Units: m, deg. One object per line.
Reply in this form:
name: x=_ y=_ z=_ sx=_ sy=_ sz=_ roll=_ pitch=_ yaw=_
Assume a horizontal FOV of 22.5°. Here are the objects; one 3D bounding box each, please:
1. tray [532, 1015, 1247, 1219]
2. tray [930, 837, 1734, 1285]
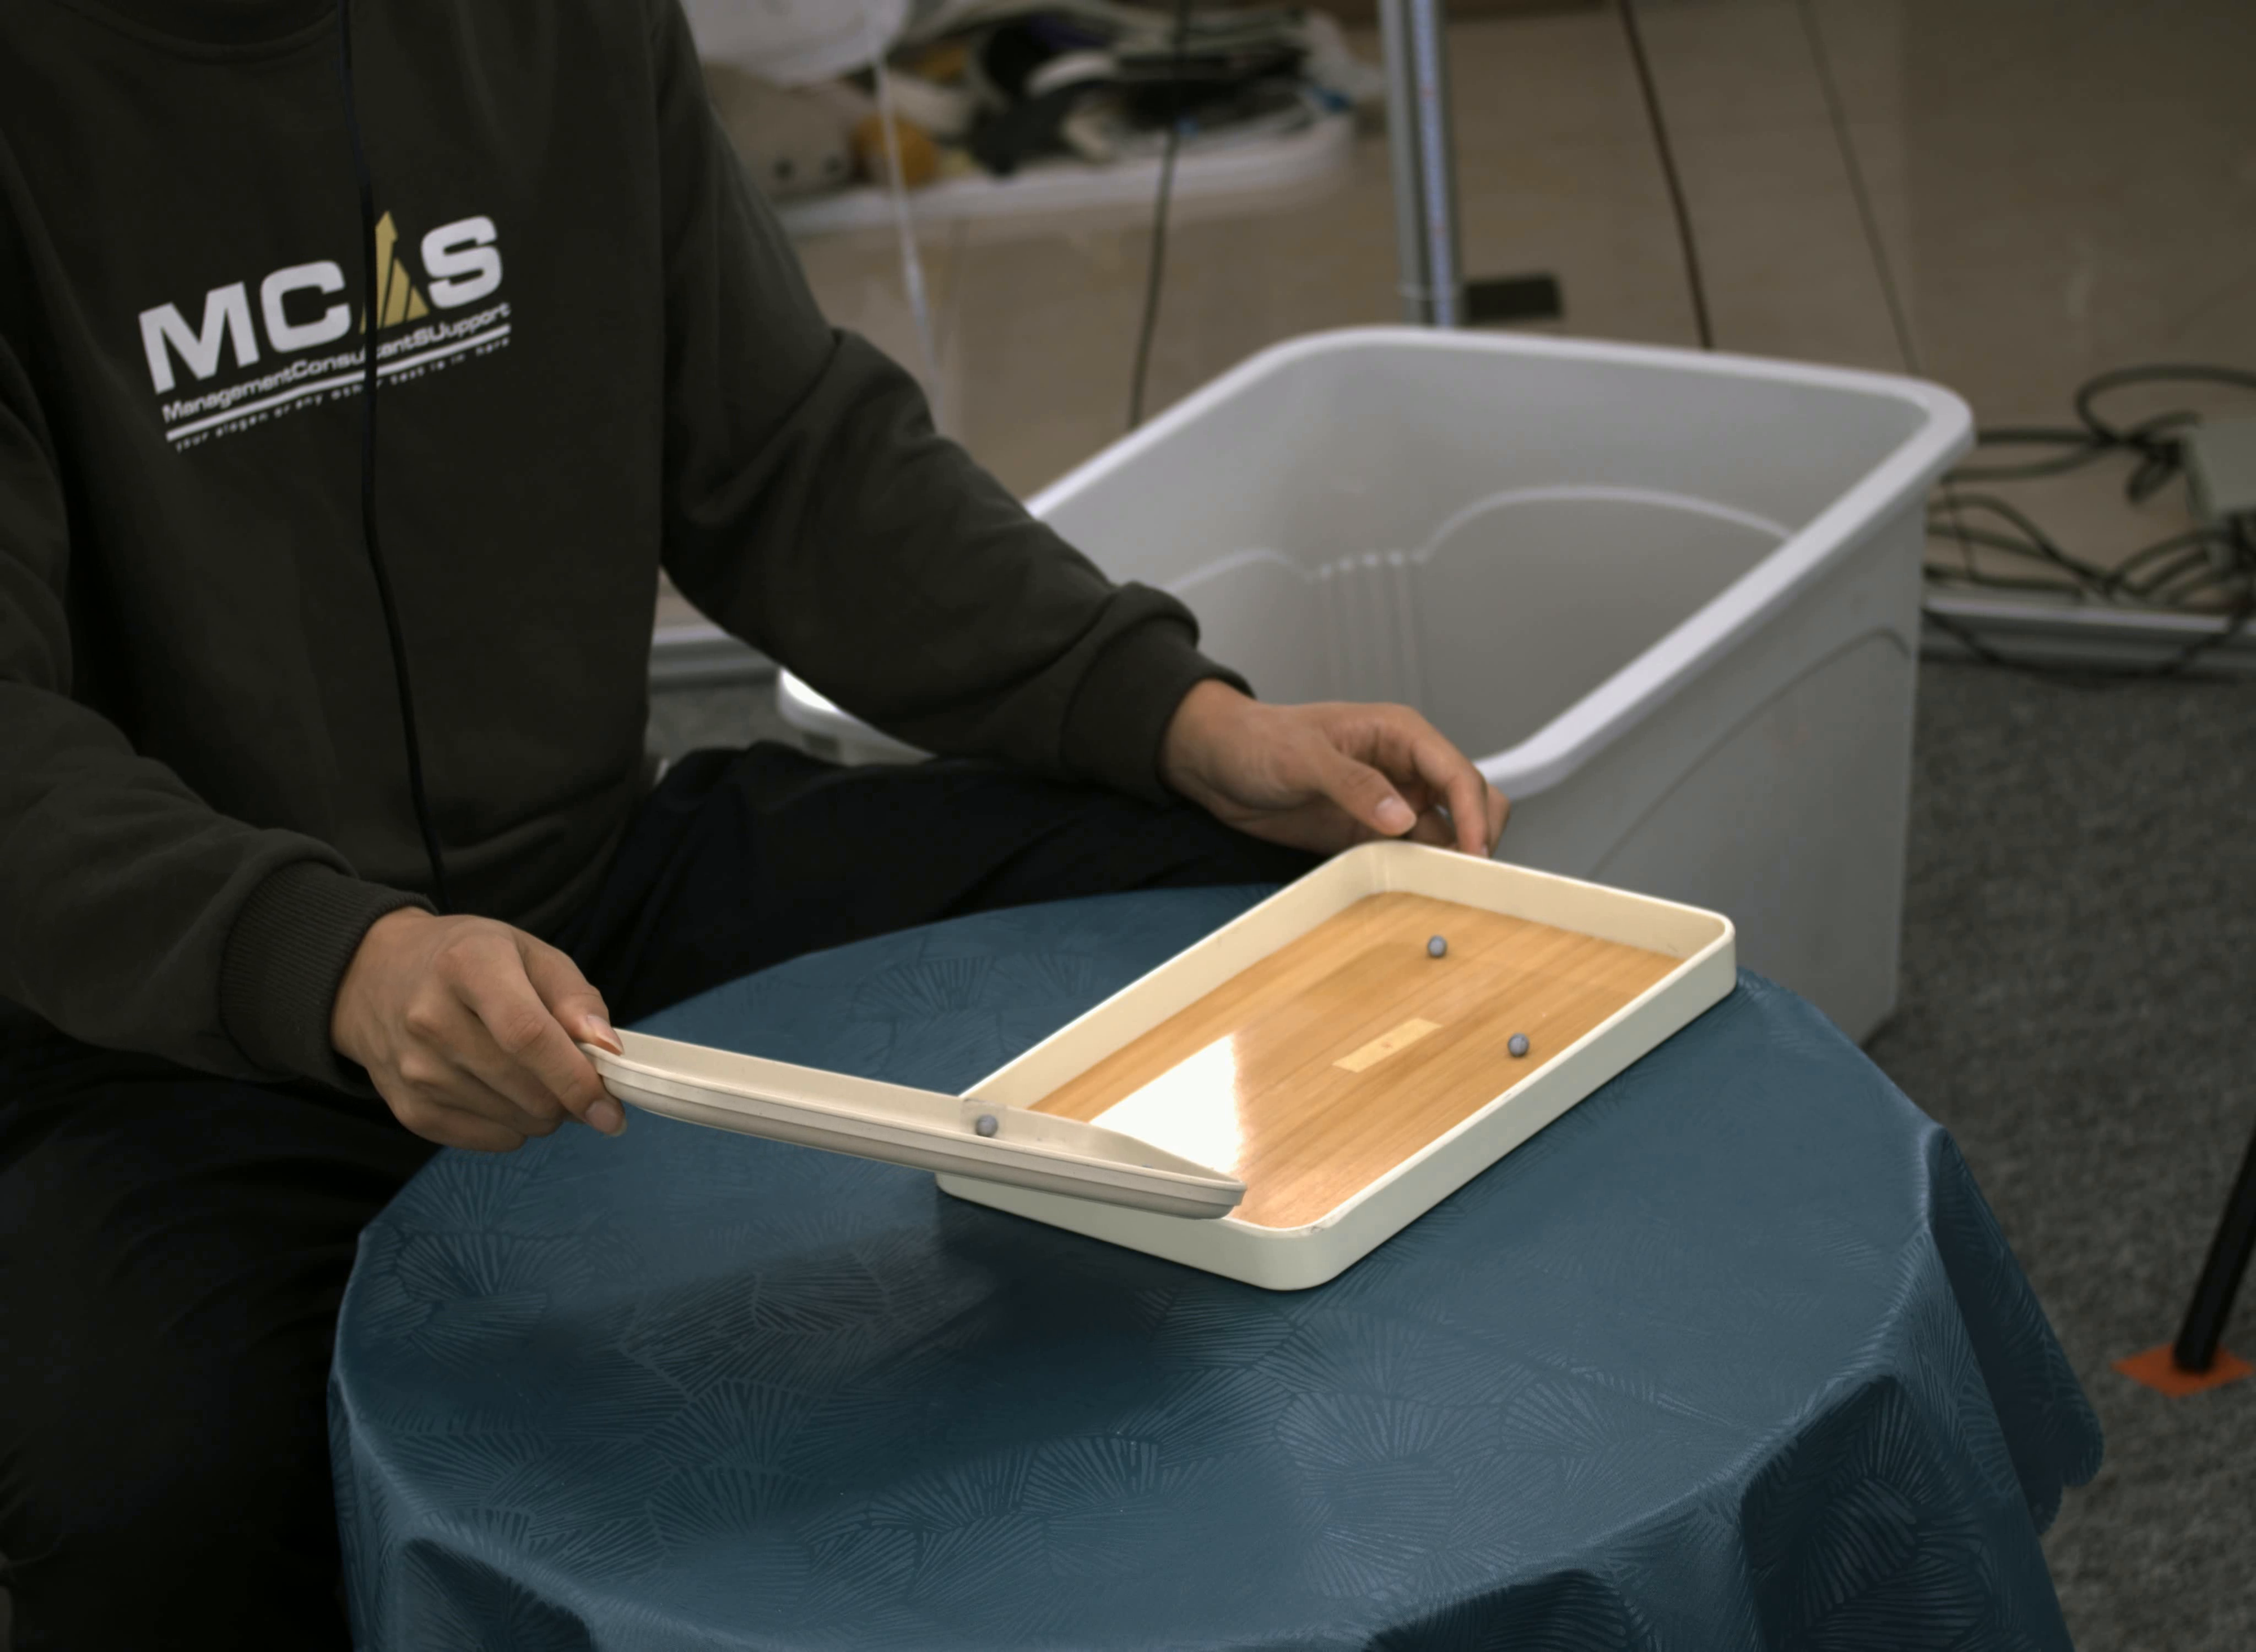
tray: x=-0.088 y=0.105 z=2.037 sx=0.240 sy=0.017 sz=0.170 roll=13 pitch=1 yaw=-22
tray: x=0.082 y=0.087 z=2.209 sx=0.190 sy=0.028 sz=0.297 roll=14 pitch=31 yaw=37
